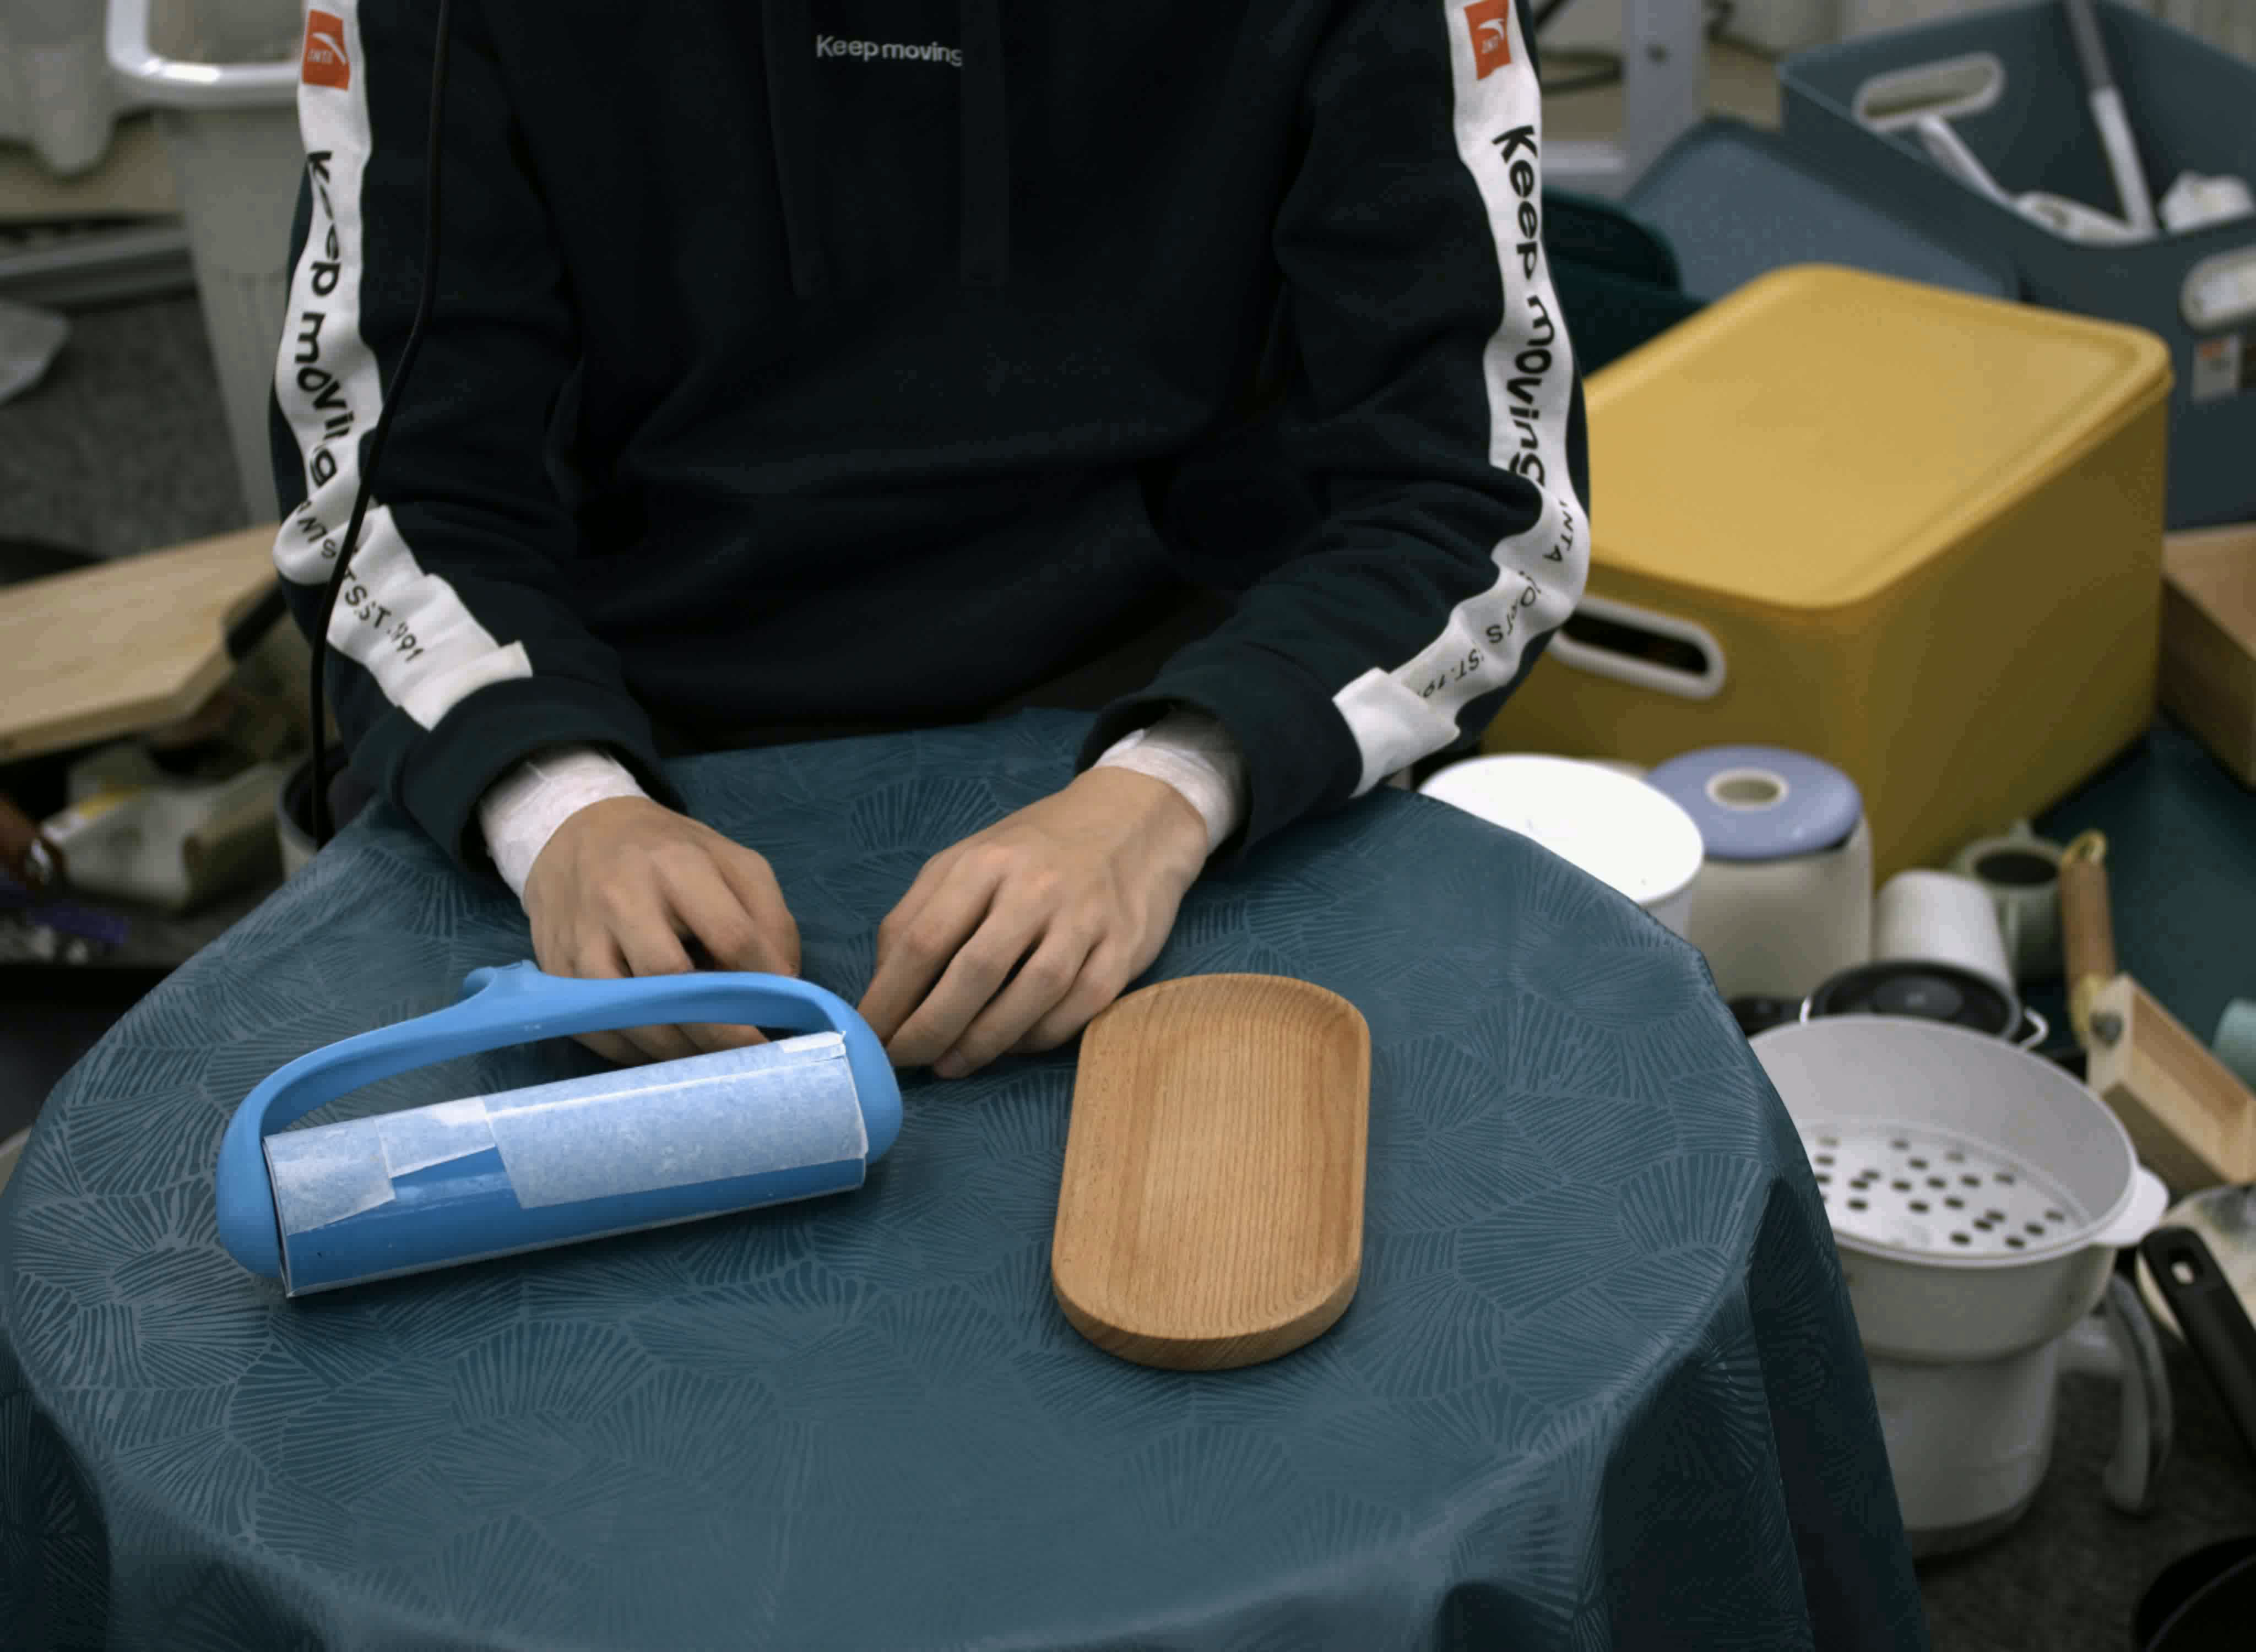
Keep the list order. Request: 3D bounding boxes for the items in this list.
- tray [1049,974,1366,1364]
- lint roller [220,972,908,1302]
[{"bbox_3d":[0.028,0.111,1.861,0.101,0.020,0.234,0,26,3],"label":"tray"},{"bbox_3d":[-0.202,0.084,1.890,0.229,0.067,0.182,-13,30,-15],"label":"lint roller"}]
